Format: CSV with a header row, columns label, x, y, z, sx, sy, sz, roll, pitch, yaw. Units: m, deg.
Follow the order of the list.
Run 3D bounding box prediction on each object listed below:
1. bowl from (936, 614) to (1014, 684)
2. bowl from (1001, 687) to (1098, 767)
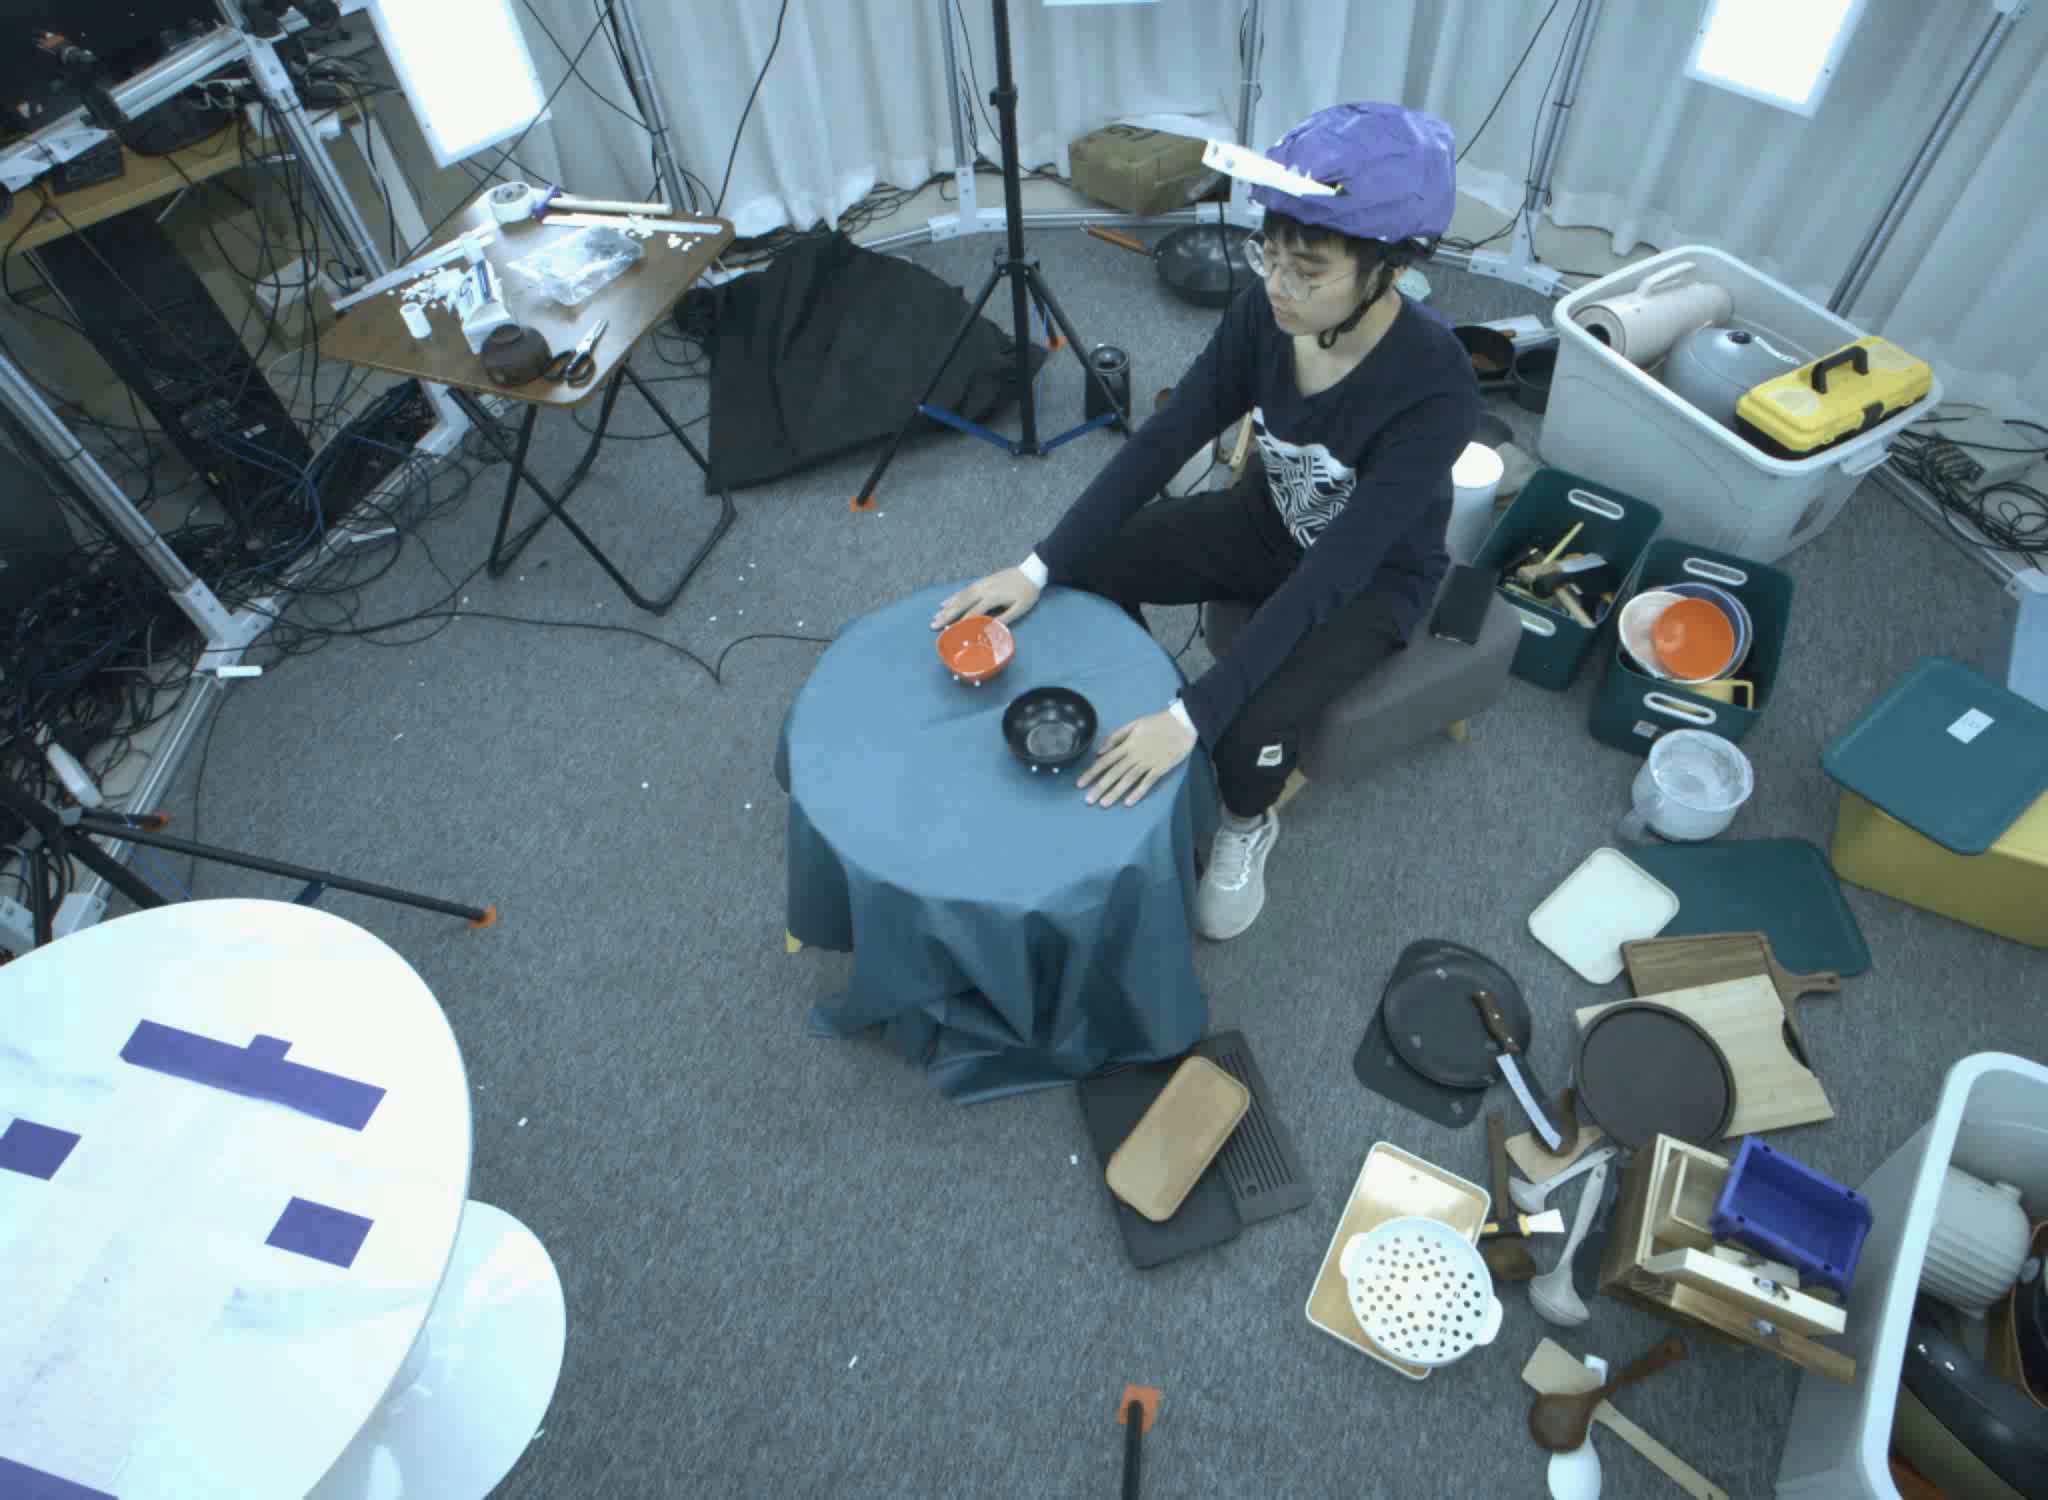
label,x,y,z,sx,sy,sz,roll,pitch,yaw
bowl,-0.072,-0.146,1.869,0.118,0.052,0.117,-2,55,4
bowl,0.037,-0.025,1.785,0.140,0.050,0.138,2,52,-1
